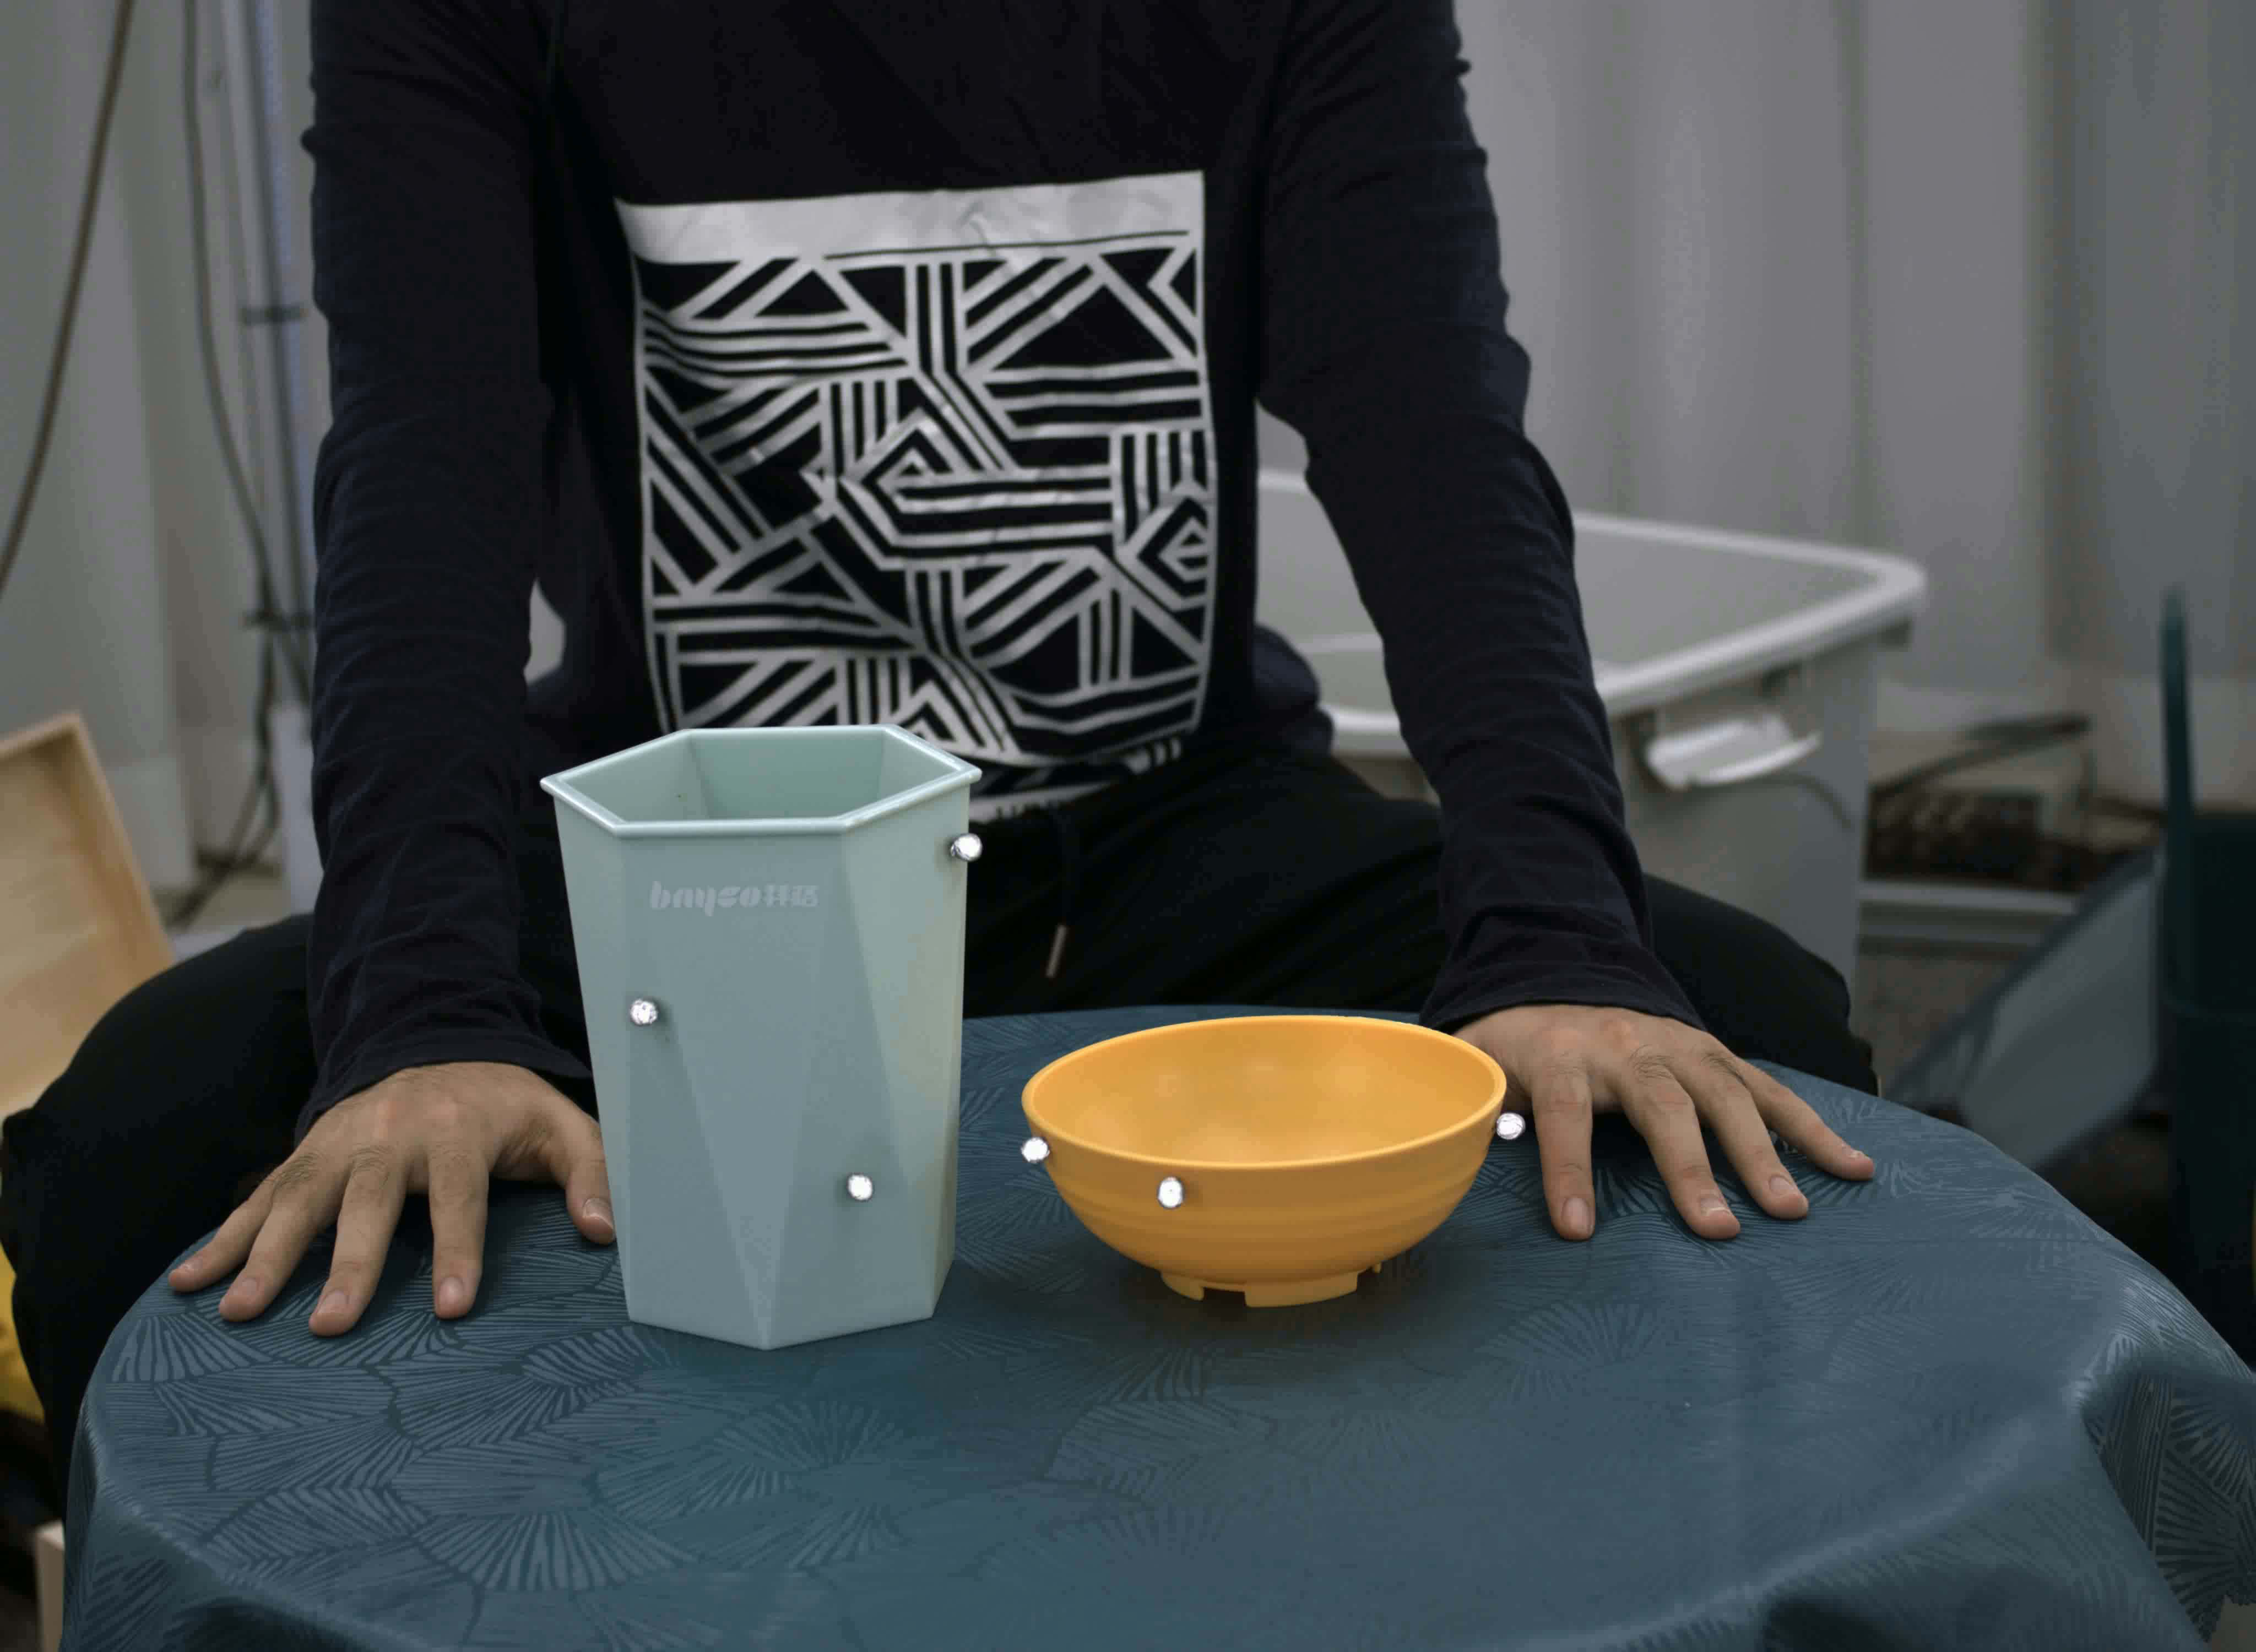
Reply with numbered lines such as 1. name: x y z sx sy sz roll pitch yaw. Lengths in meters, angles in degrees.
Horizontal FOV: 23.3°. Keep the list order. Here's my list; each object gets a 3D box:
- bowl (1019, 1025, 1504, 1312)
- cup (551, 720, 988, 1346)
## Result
1. bowl: 0.040 0.107 1.634 0.145 0.060 0.146 -1 13 0
2. cup: -0.103 0.061 1.622 0.130 0.162 0.116 -1 13 5
